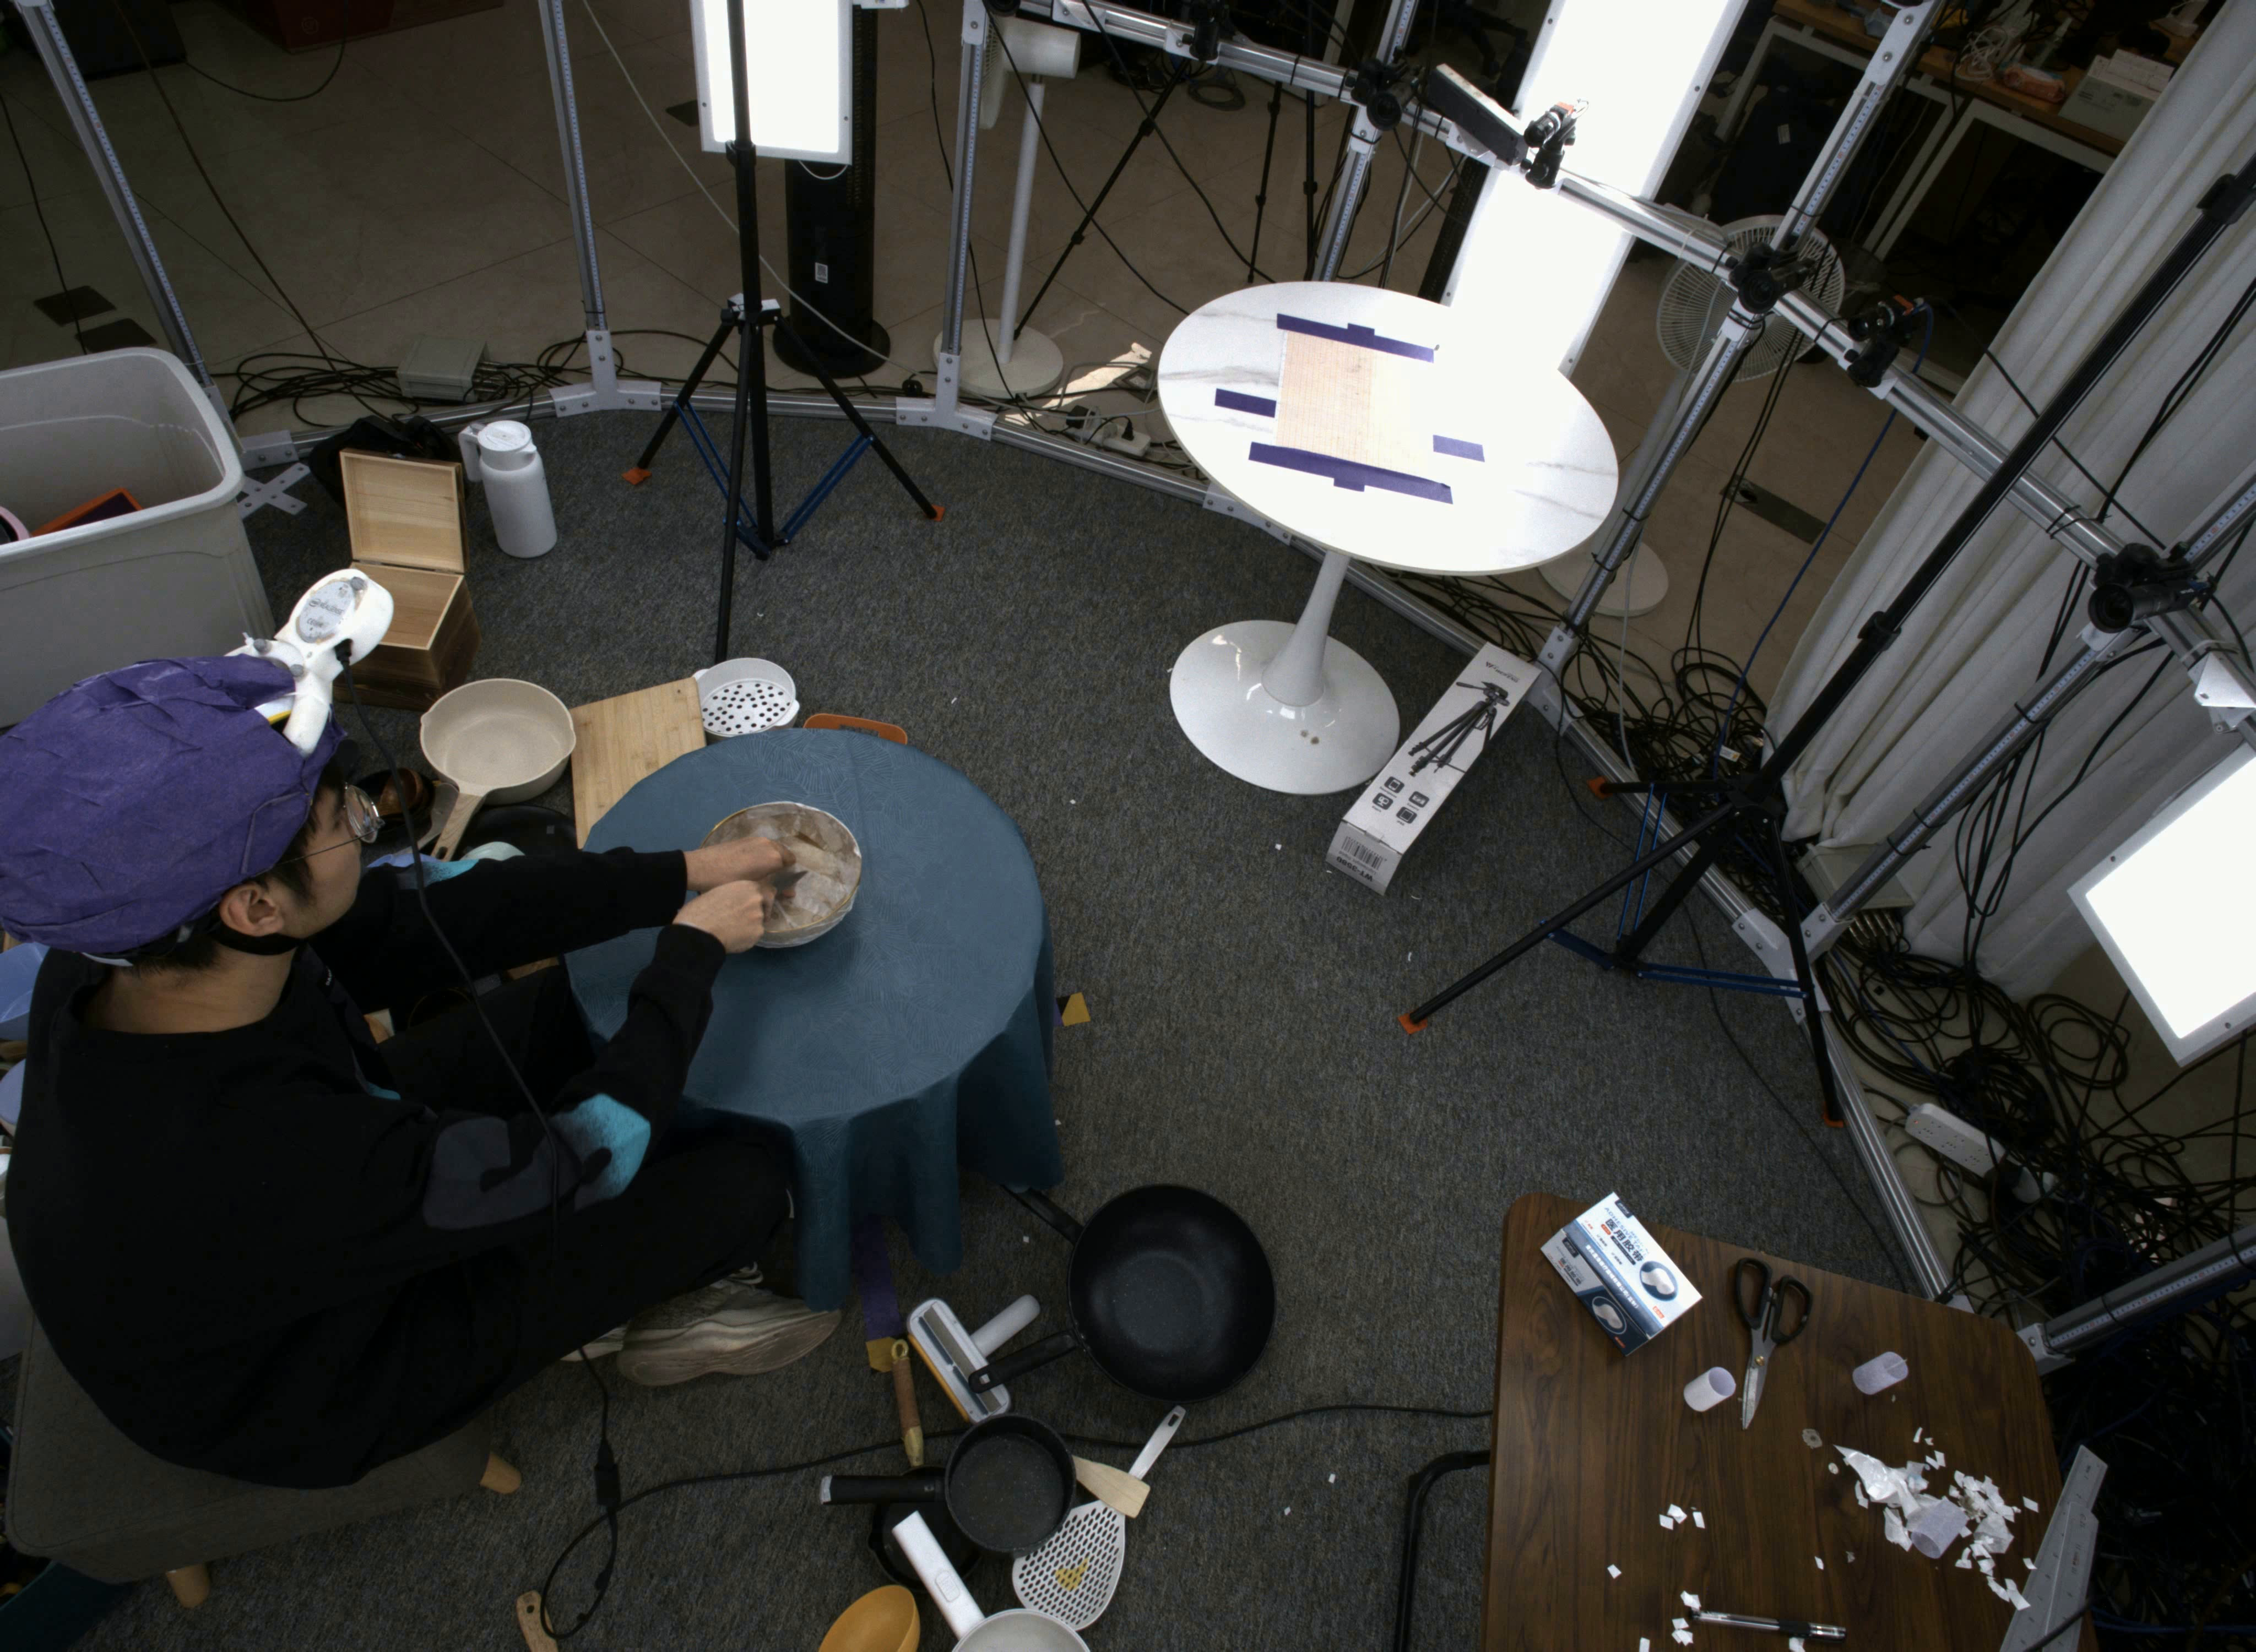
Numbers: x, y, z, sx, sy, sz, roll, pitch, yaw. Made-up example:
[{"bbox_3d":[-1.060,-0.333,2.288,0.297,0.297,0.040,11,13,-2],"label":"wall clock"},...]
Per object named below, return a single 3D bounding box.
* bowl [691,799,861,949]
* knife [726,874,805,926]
[{"bbox_3d":[-0.434,0.074,1.593,0.214,0.096,0.211,8,51,-8],"label":"bowl"},{"bbox_3d":[-0.417,0.078,1.508,0.017,0.026,0.224,24,13,2],"label":"knife"}]
